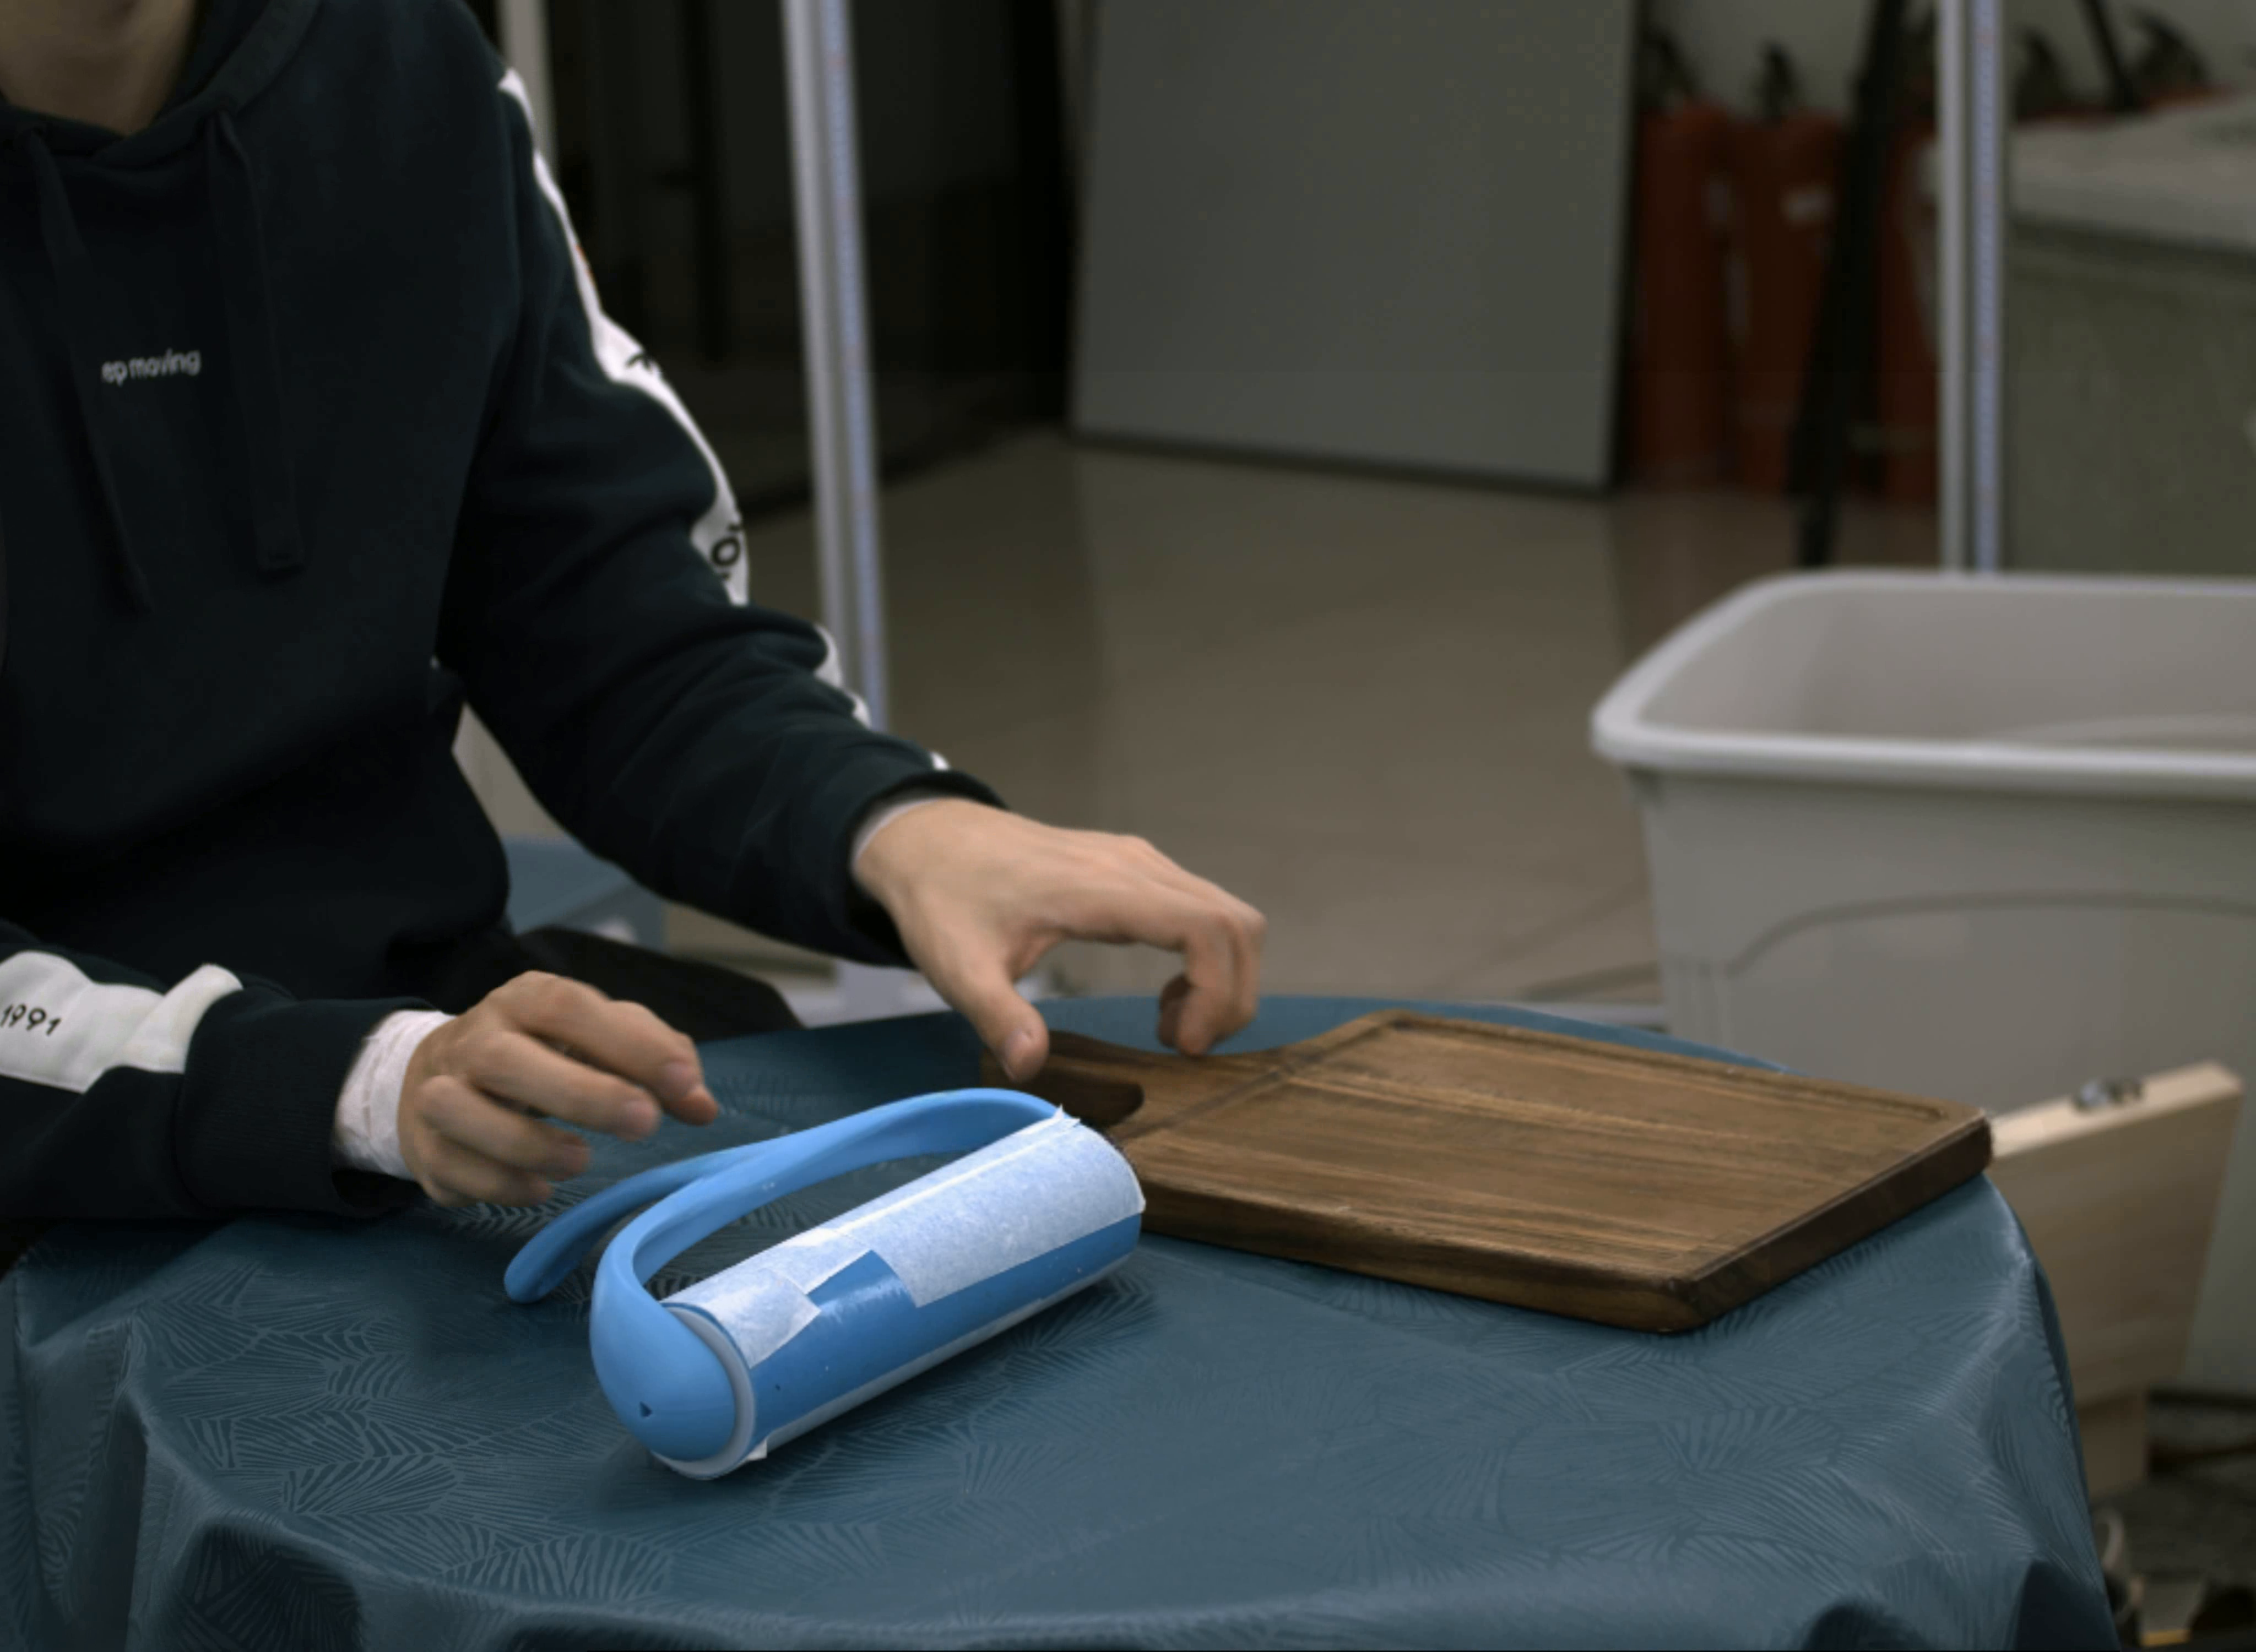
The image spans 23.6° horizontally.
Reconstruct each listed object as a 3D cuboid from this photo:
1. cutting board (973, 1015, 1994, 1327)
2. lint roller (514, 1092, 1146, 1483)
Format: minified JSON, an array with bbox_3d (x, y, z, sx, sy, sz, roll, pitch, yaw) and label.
[{"bbox_3d":[0.089,0.102,1.775,0.355,0.023,0.197,7,17,39],"label":"cutting board"},{"bbox_3d":[-0.118,0.132,1.641,0.181,0.068,0.225,6,18,33],"label":"lint roller"}]
